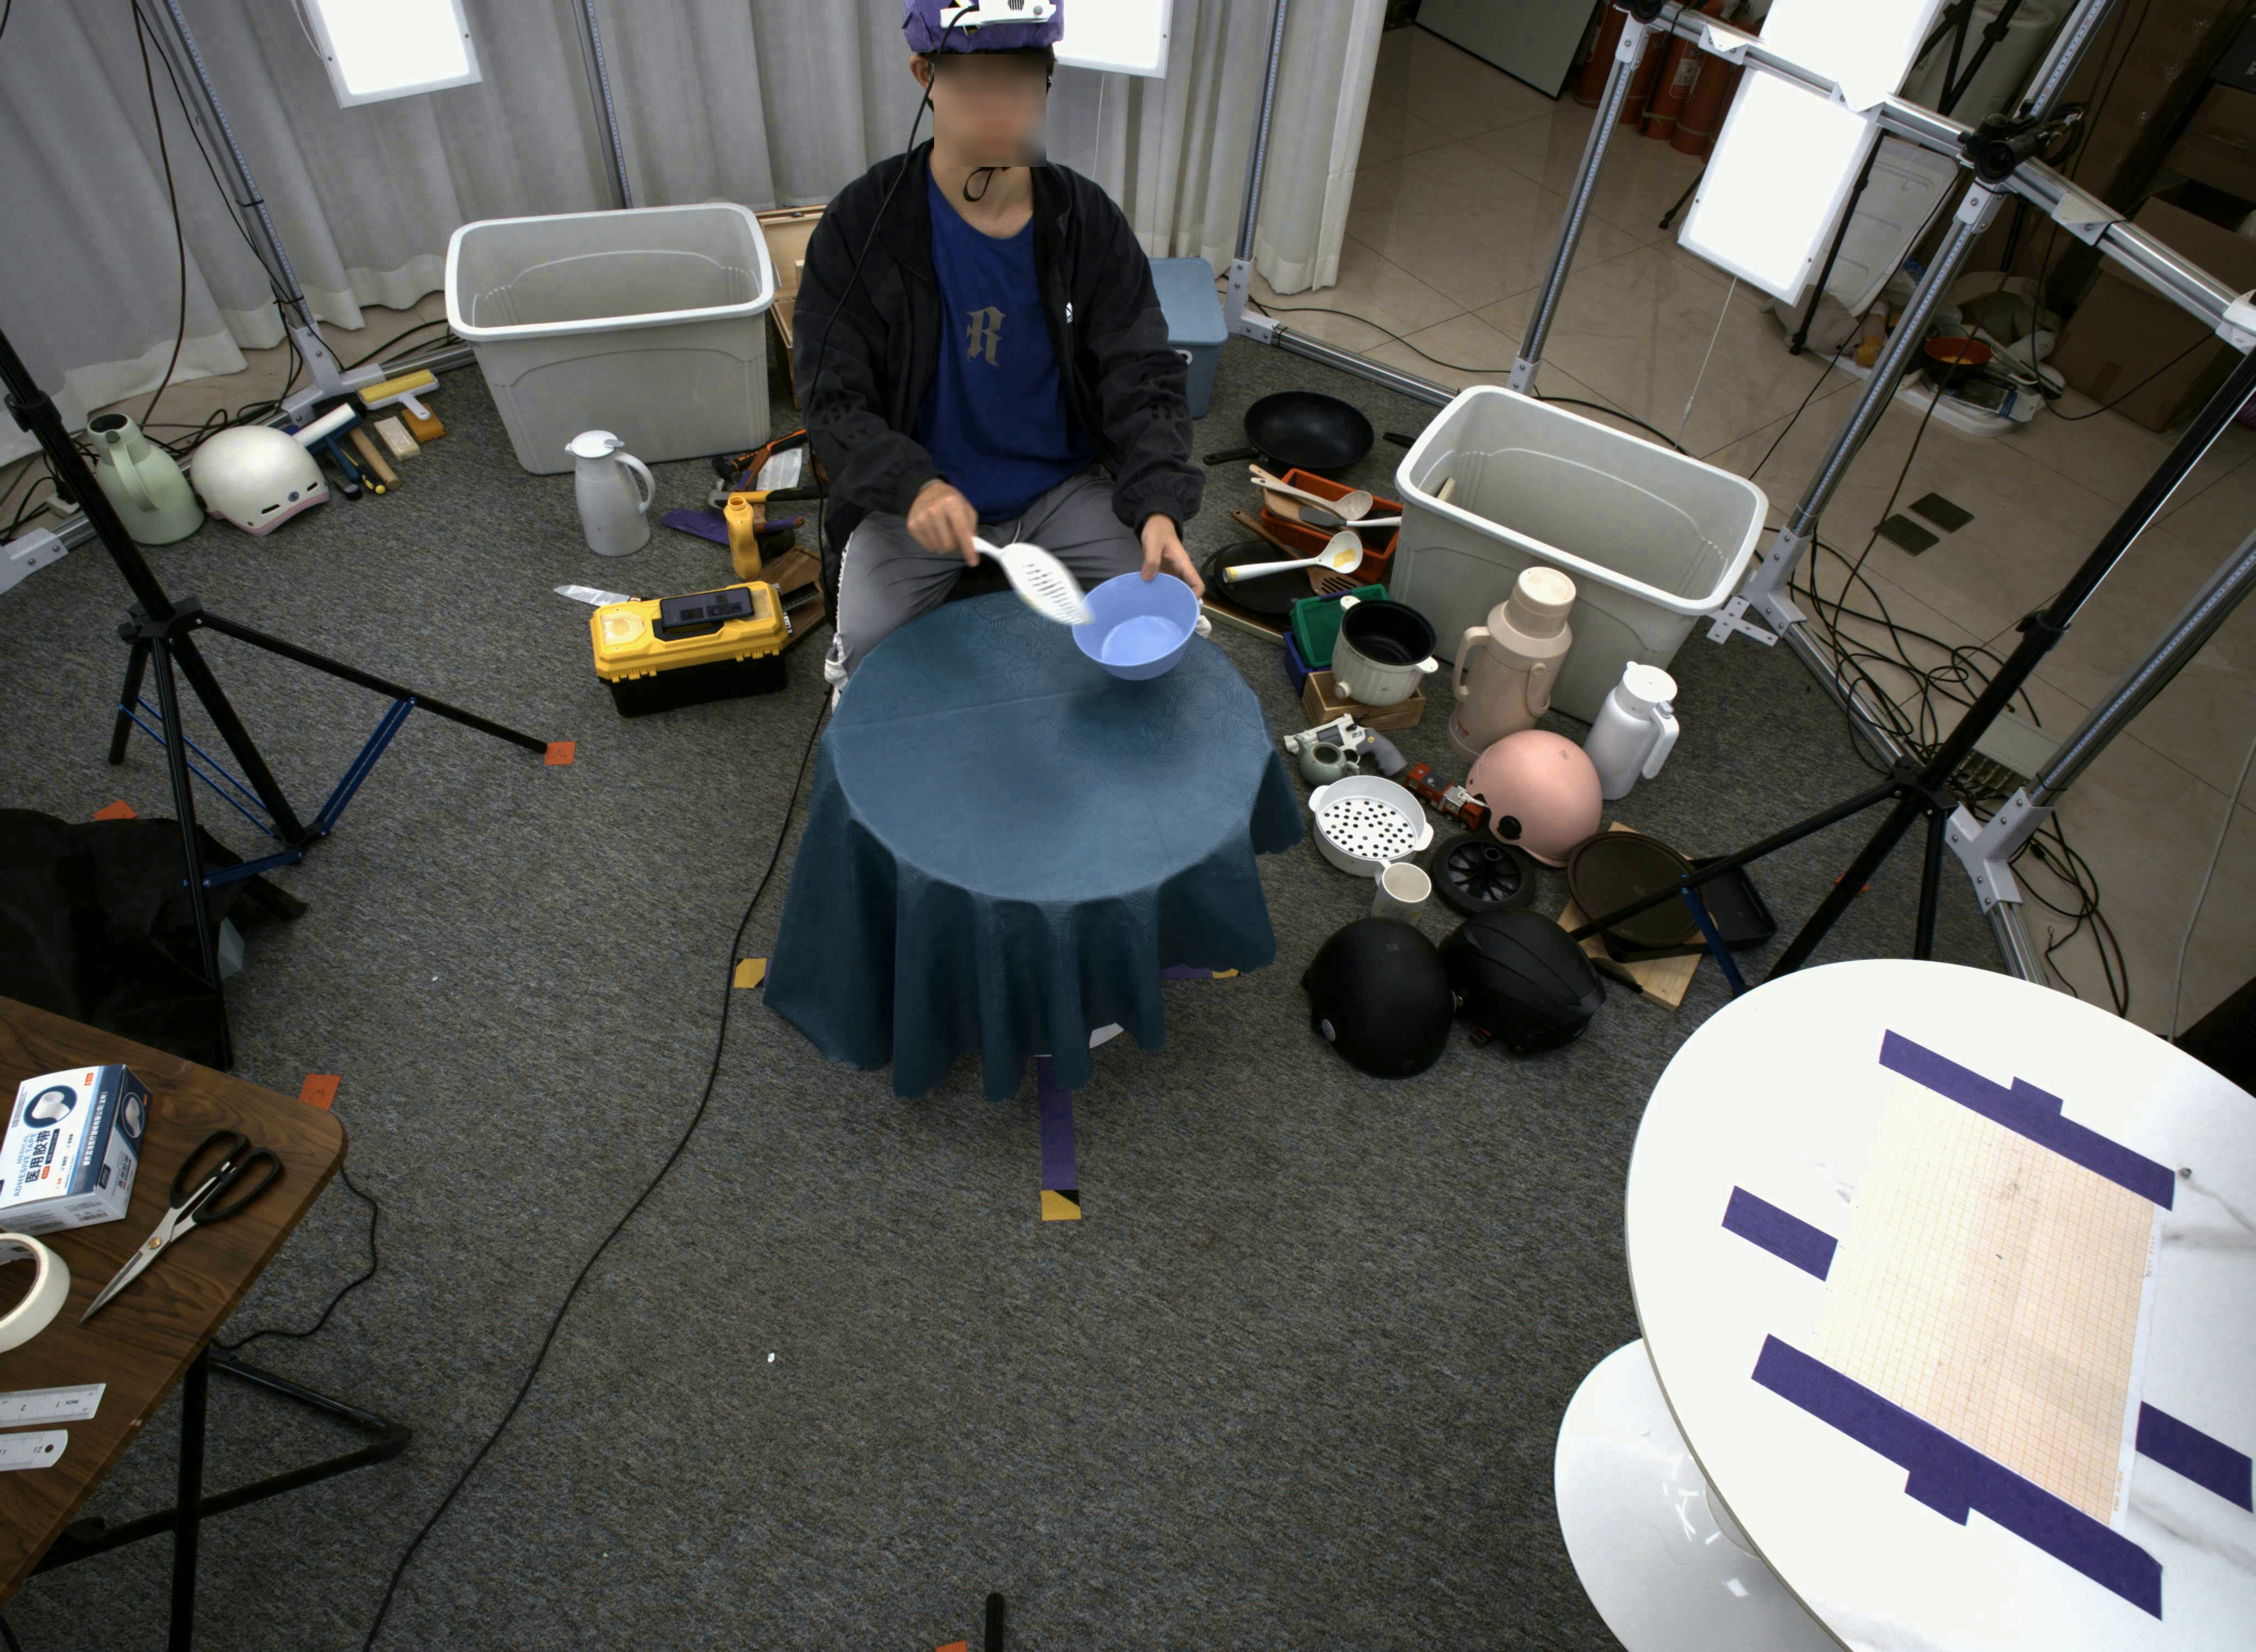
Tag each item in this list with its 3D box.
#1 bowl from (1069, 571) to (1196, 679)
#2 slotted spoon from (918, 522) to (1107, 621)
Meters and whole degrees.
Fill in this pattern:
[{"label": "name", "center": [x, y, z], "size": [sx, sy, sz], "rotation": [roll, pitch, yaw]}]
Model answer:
[{"label": "bowl", "center": [0.011, -0.269, 1.778], "size": [0.176, 0.068, 0.180], "rotation": [-7, 52, 9]}, {"label": "slotted spoon", "center": [-0.164, -0.354, 1.722], "size": [0.050, 0.134, 0.354], "rotation": [-47, 51, -8]}]
